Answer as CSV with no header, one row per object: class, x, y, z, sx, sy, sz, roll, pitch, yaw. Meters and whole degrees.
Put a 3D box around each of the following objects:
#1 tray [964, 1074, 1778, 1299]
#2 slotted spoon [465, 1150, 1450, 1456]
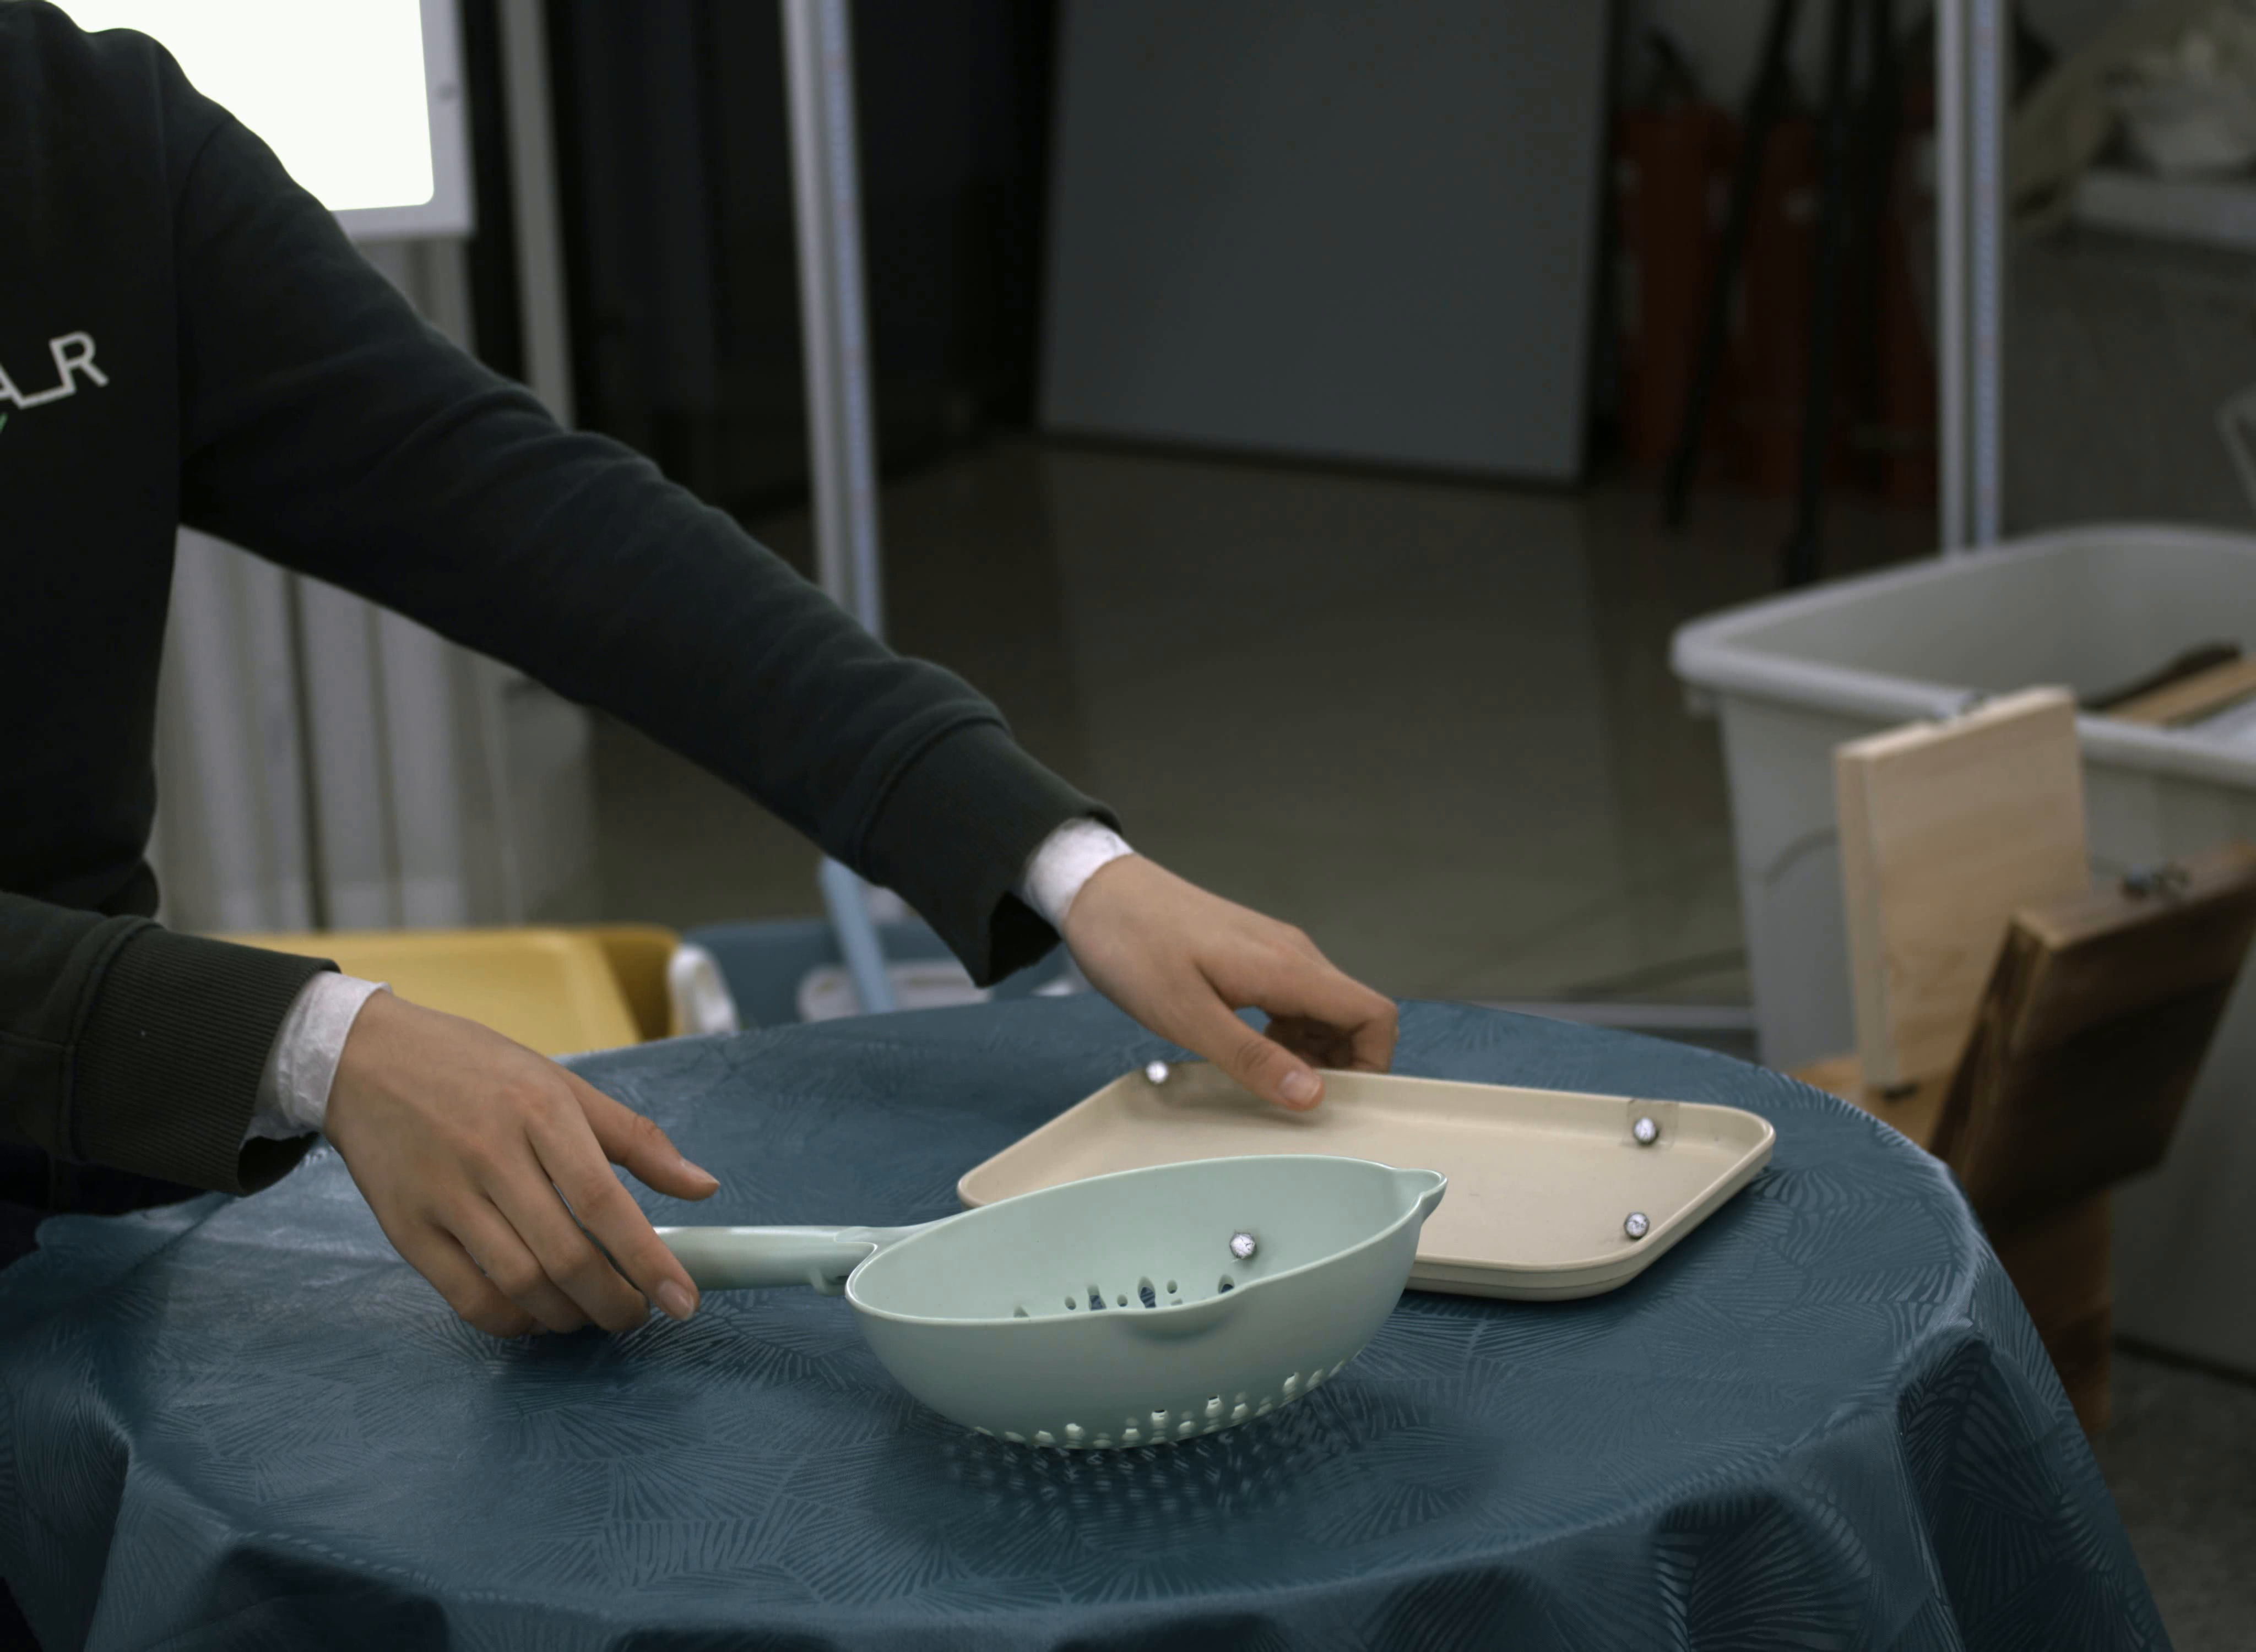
tray,0.079,0.116,1.737,0.240,0.017,0.169,2,15,28
slotted spoon,-0.070,0.134,1.608,0.361,0.076,0.166,6,16,38
